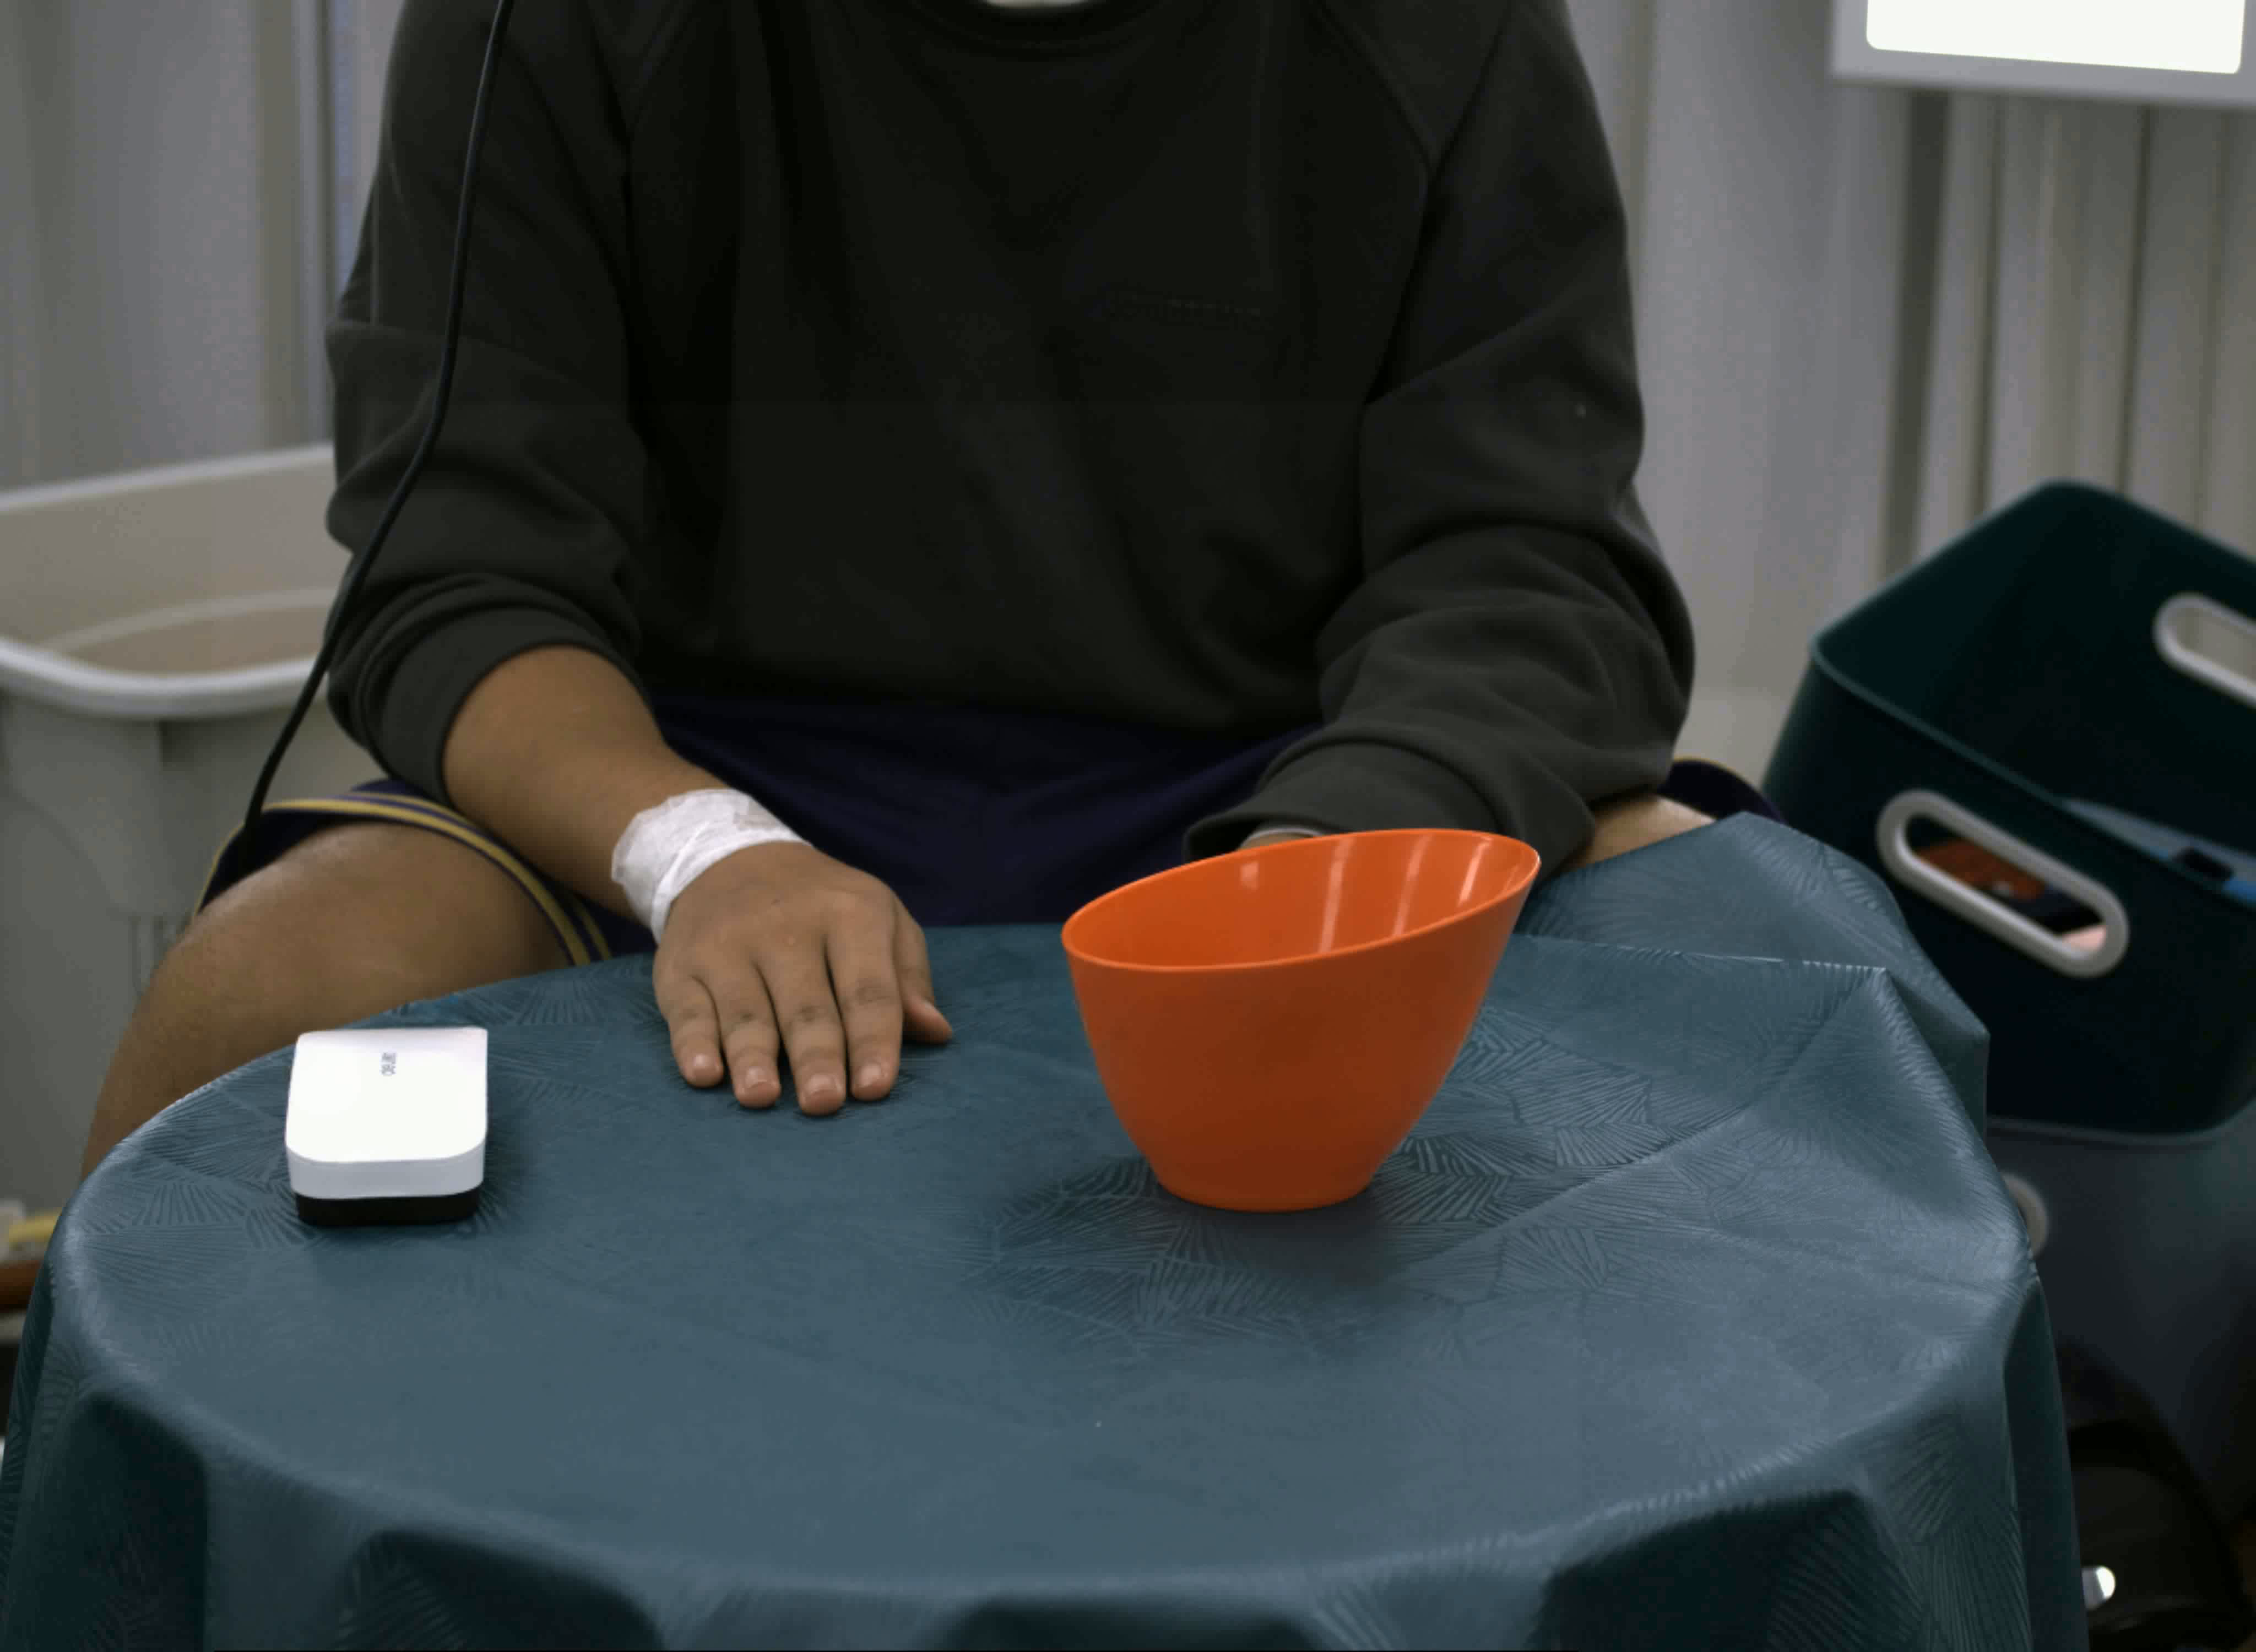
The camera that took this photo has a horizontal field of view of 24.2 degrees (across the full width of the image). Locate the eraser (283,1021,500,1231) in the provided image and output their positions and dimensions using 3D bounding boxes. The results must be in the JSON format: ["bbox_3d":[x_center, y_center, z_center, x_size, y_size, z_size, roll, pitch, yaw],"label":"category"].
[{"bbox_3d":[-0.228,0.089,1.639,0.063,0.035,0.130,0,17,-5],"label":"eraser"}]

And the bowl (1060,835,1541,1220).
[{"bbox_3d":[0.052,0.062,1.618,0.147,0.105,0.147,0,16,1],"label":"bowl"}]
